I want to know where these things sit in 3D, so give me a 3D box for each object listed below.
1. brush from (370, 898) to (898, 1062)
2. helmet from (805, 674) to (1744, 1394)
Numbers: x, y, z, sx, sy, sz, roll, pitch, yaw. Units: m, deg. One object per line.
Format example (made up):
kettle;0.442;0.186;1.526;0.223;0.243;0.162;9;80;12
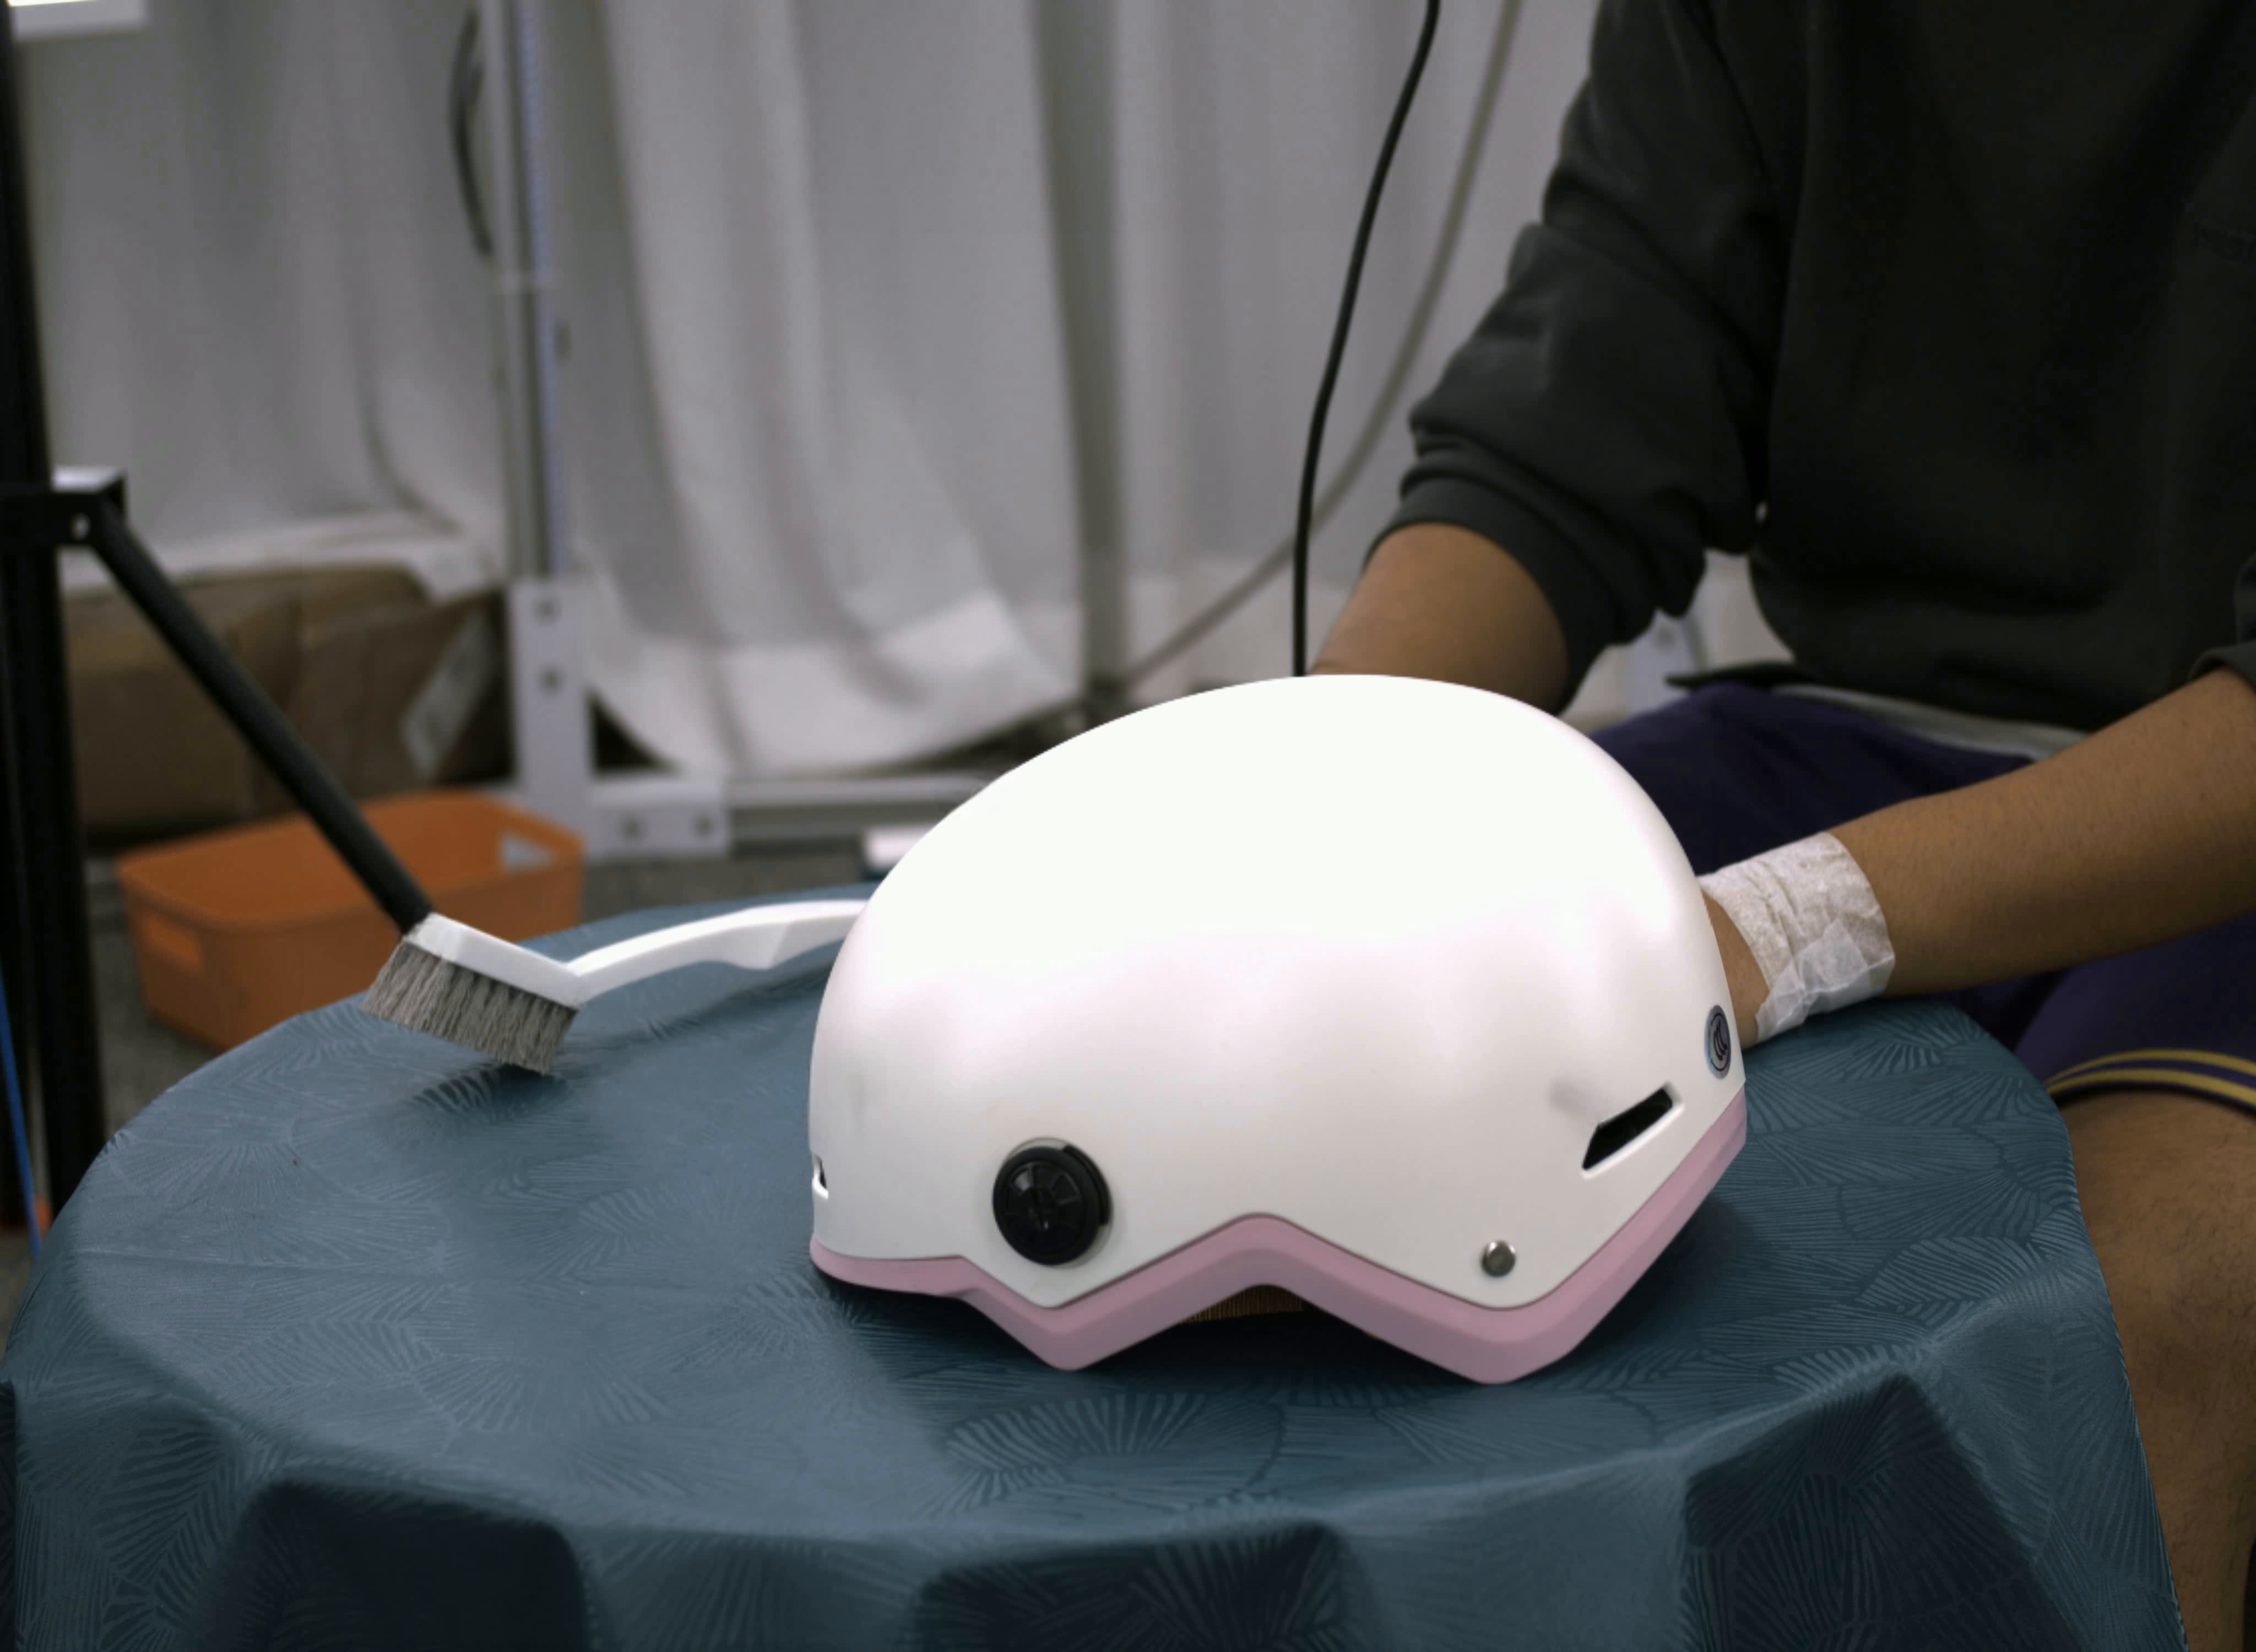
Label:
brush;-0.145;0.050;1.747;0.035;0.050;0.237;13;8;43
helmet;0.037;0.042;1.487;0.272;0.167;0.234;4;17;22
